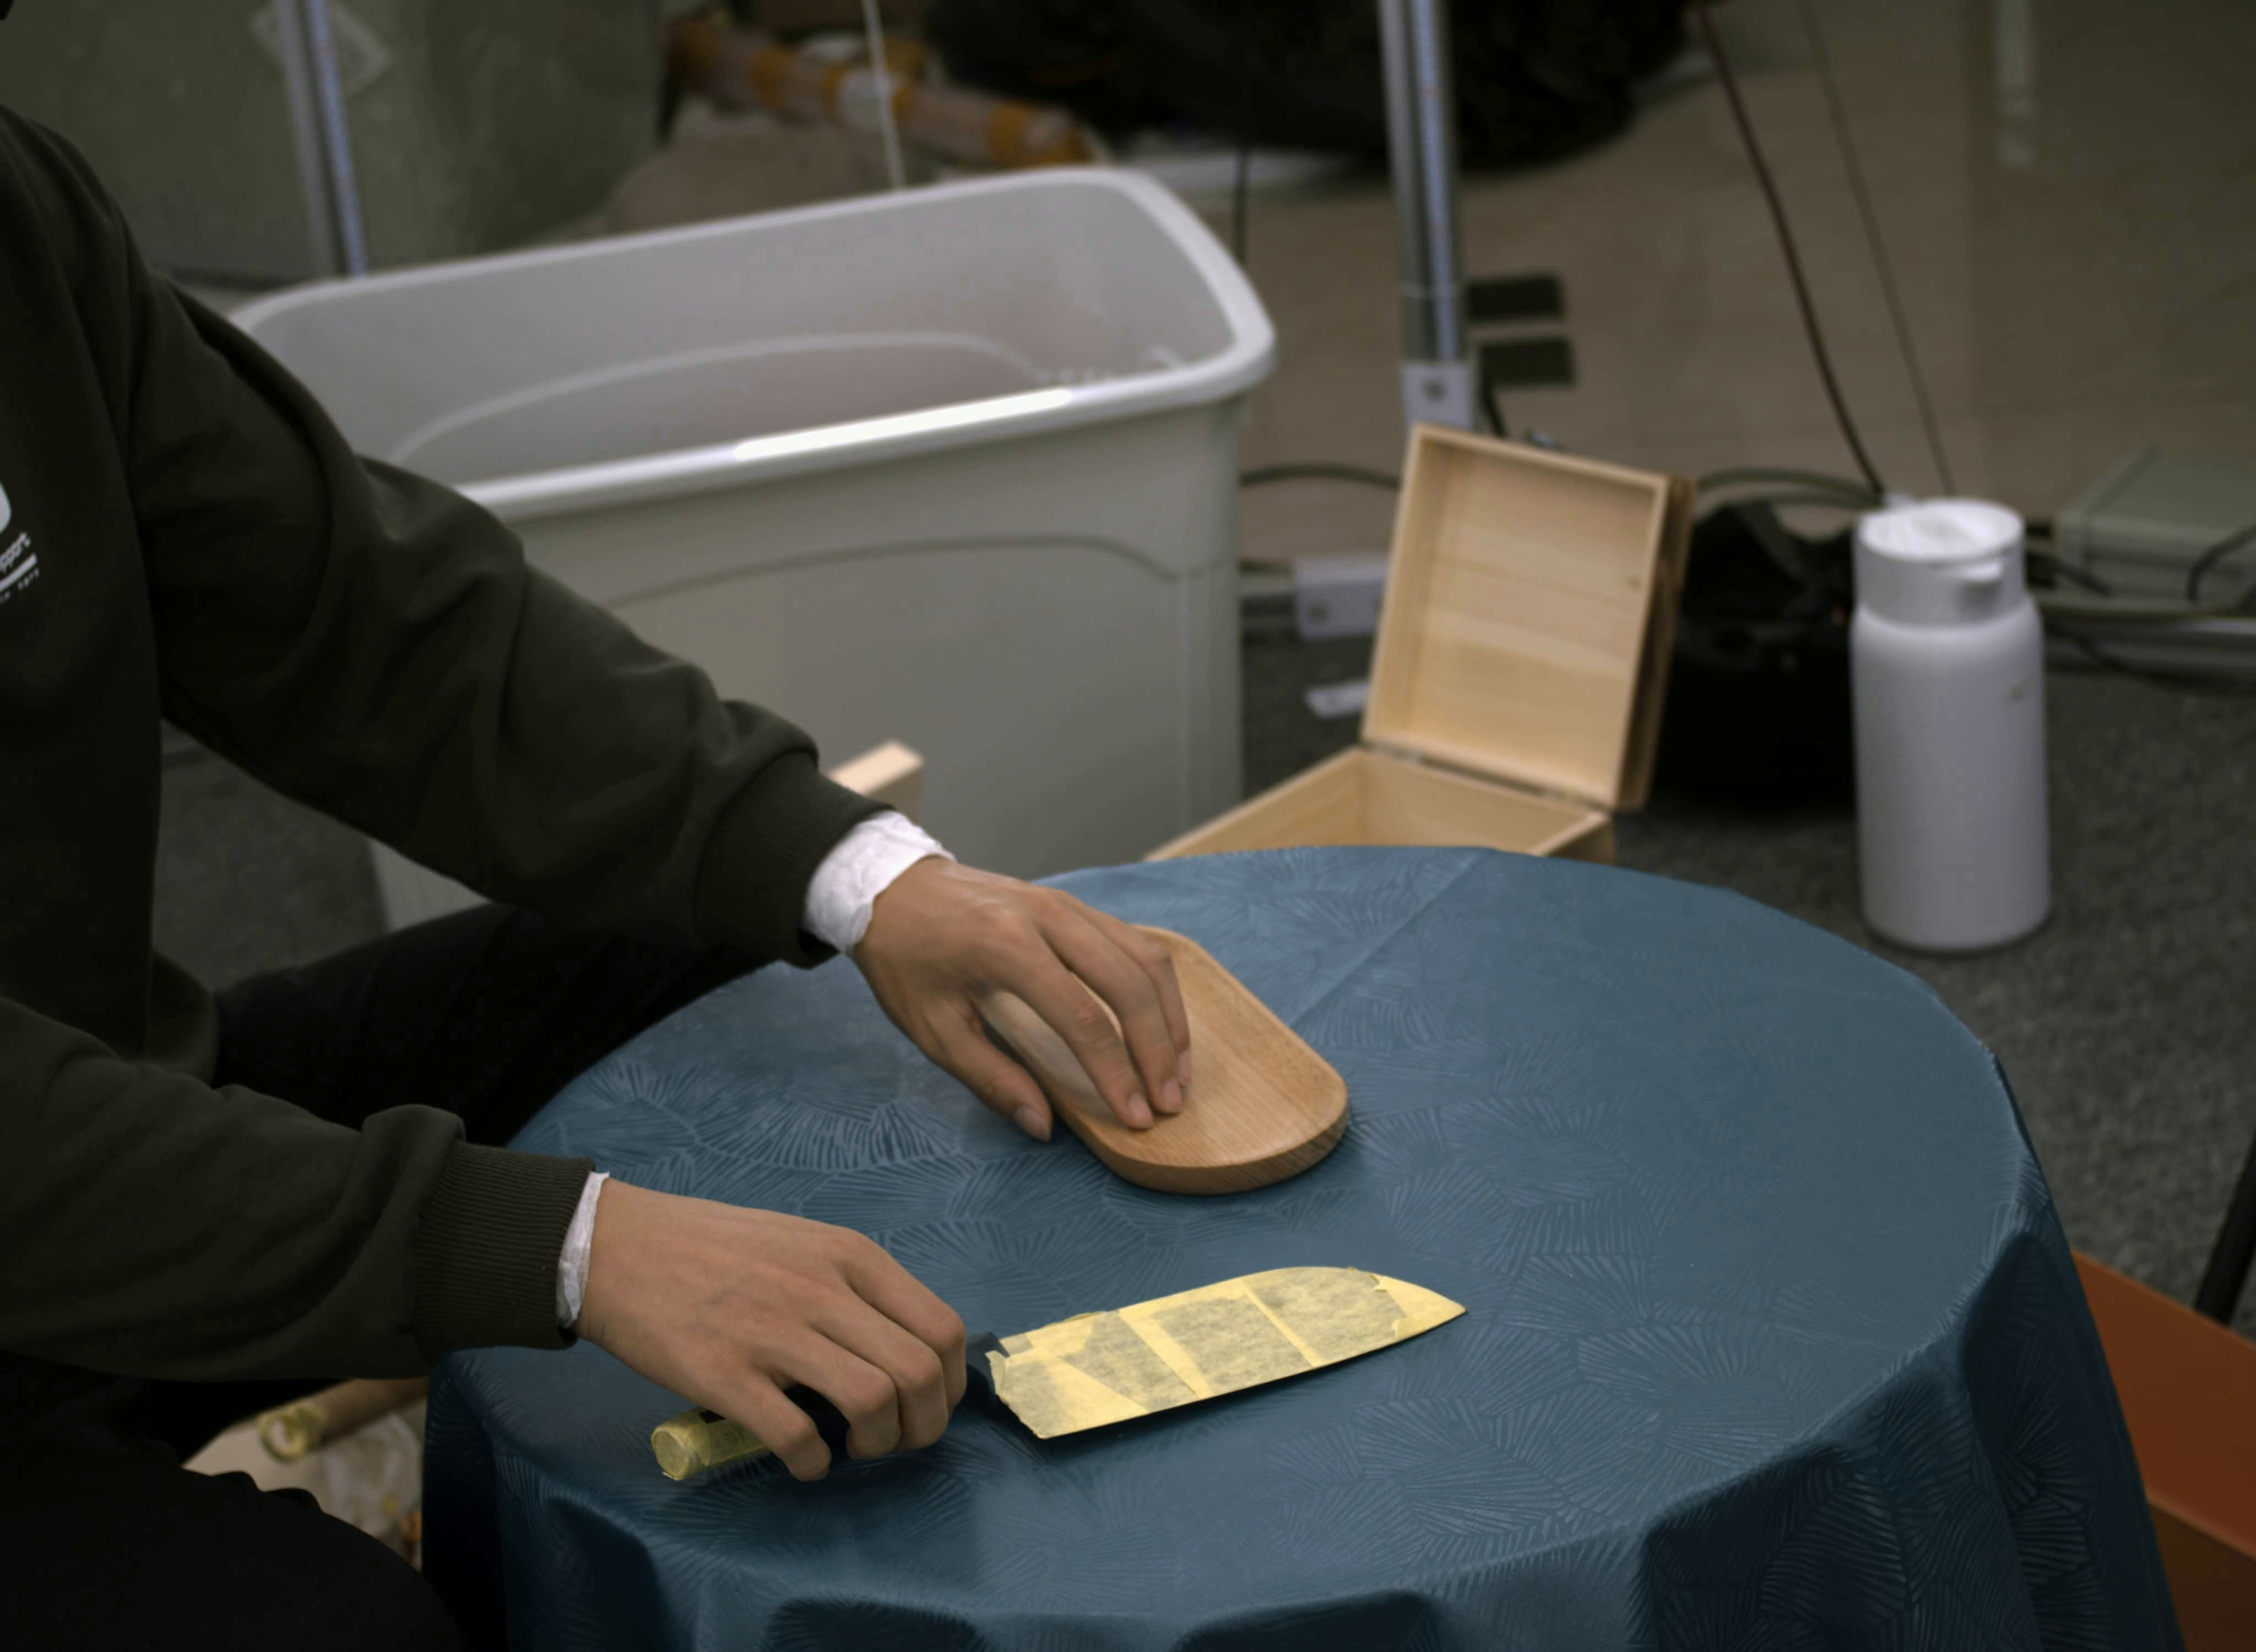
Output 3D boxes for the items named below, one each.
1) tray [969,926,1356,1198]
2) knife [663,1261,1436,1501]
[{"bbox_3d":[0.012,0.091,2.232,0.101,0.020,0.228,-17,28,-18],"label":"tray"},{"bbox_3d":[-0.024,0.197,2.015,0.288,0.027,0.080,-13,24,-17],"label":"knife"}]
